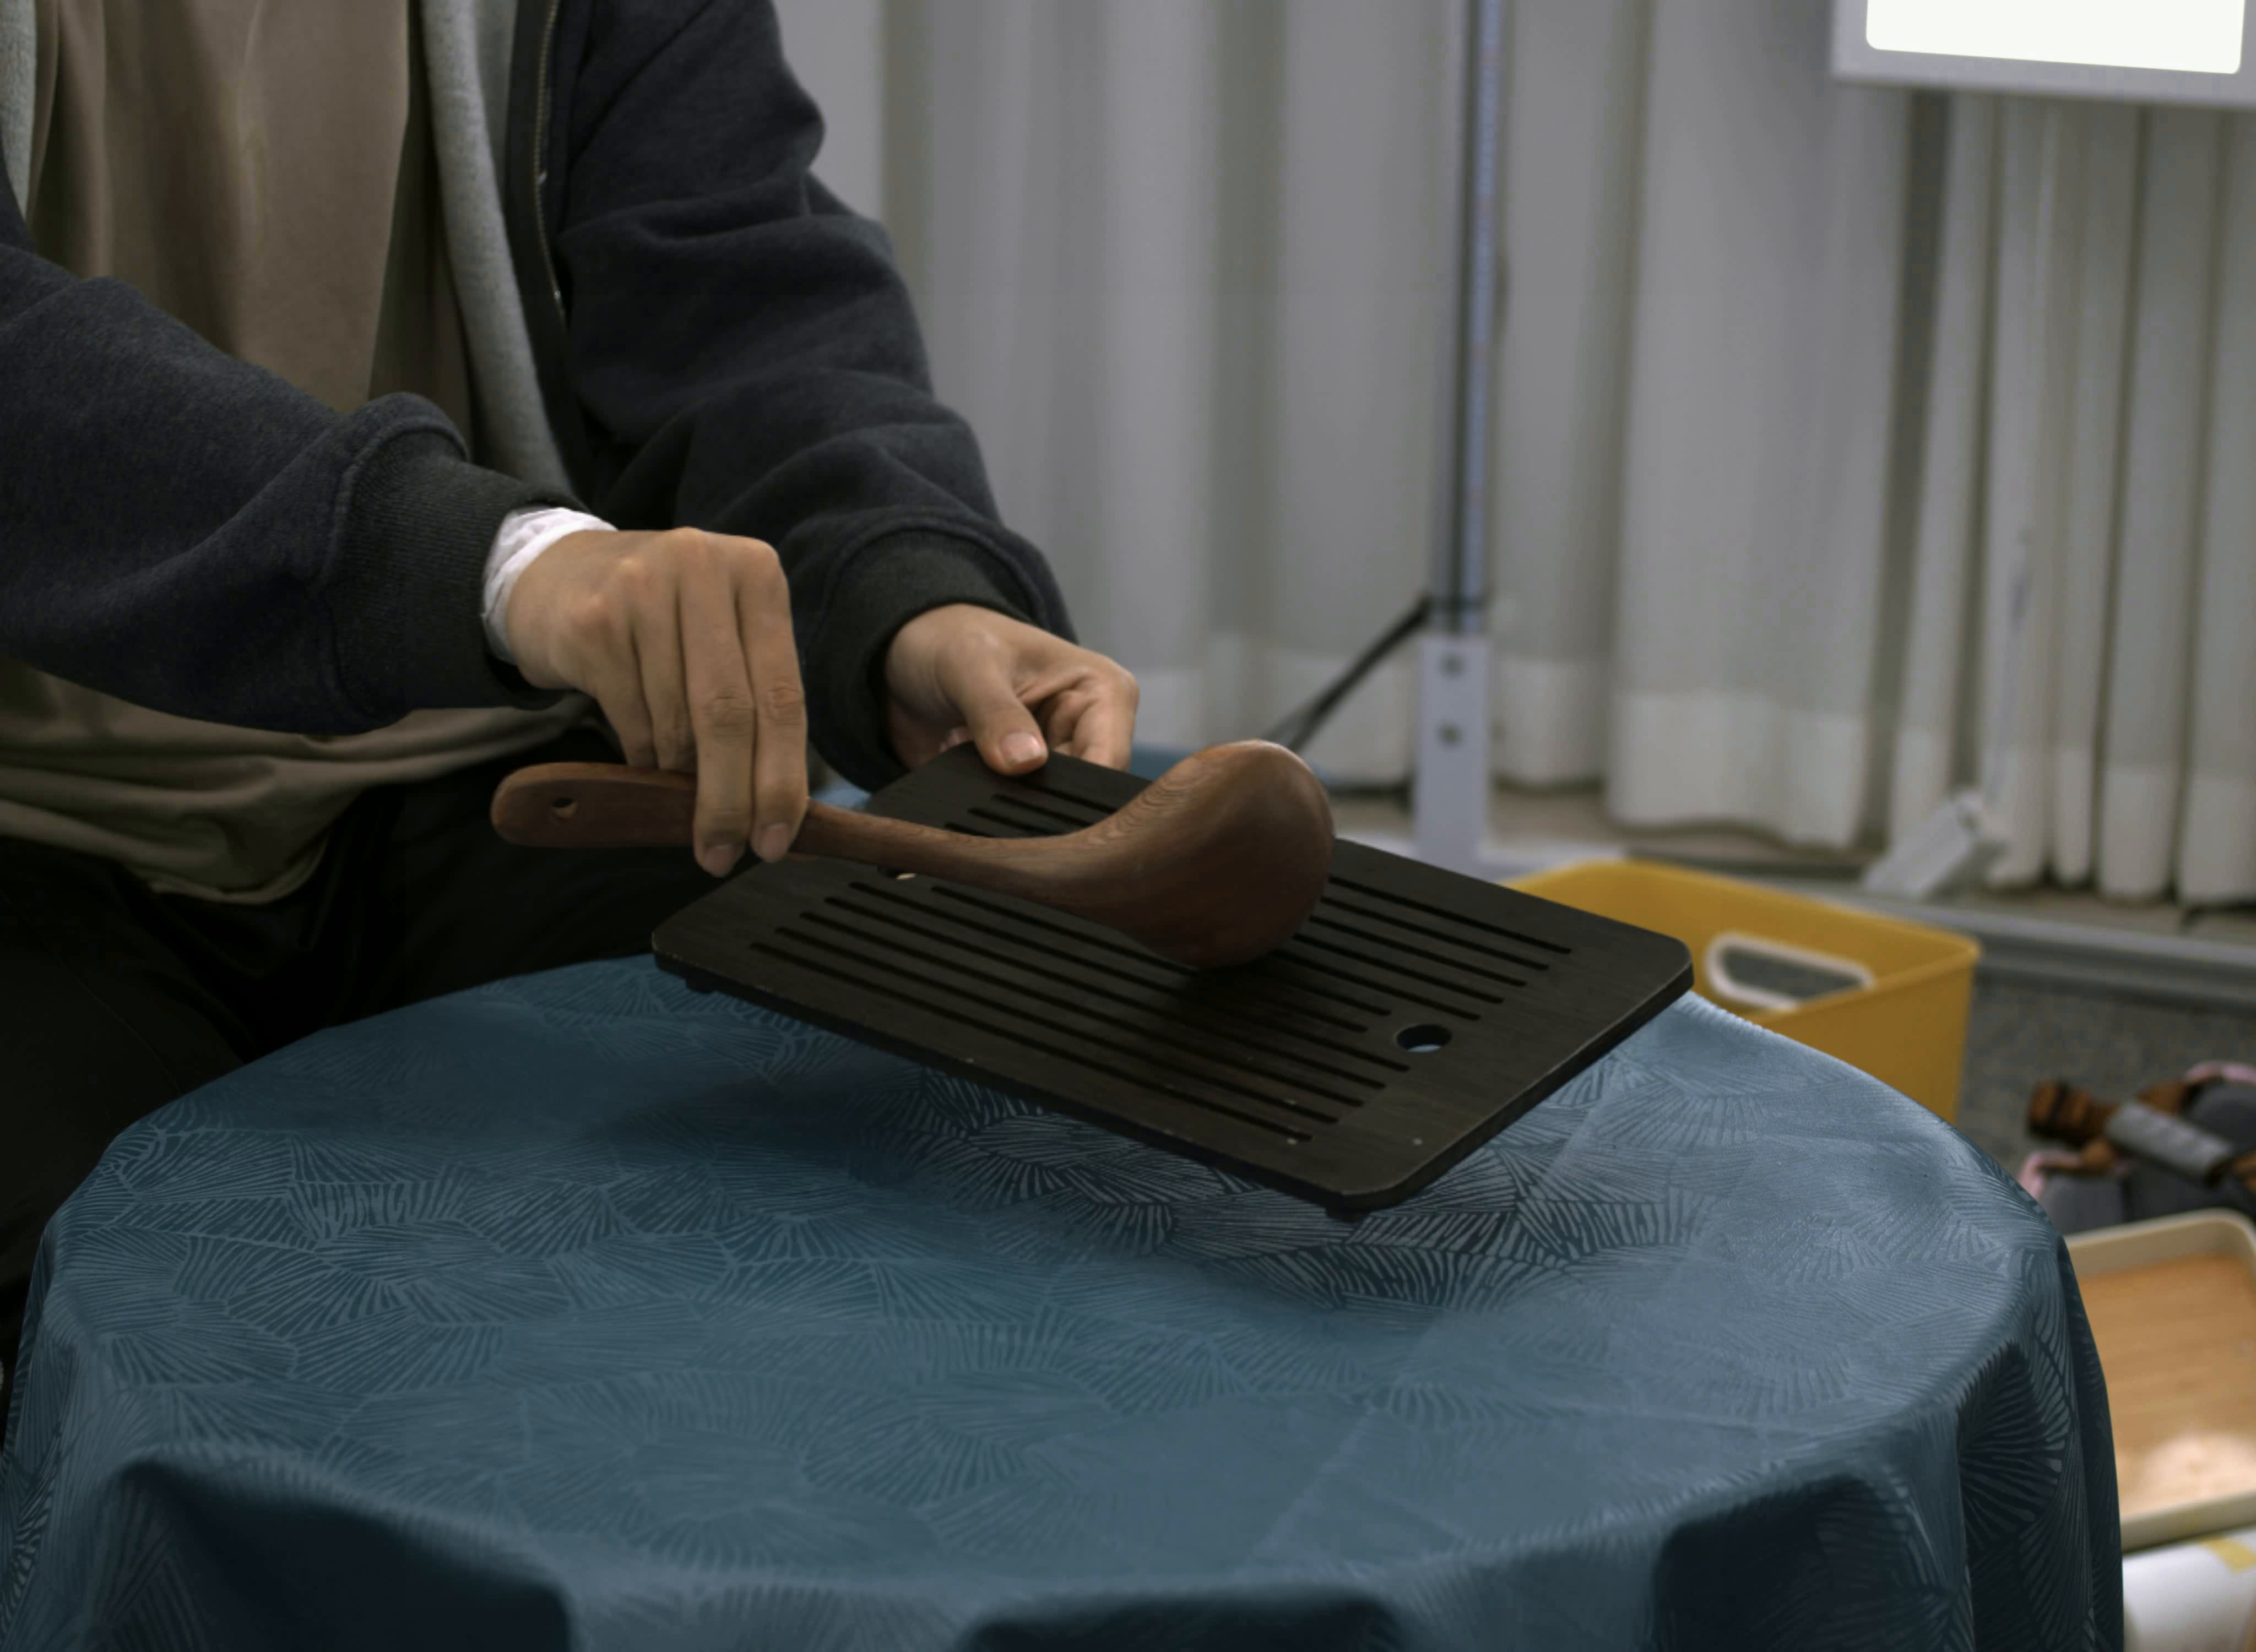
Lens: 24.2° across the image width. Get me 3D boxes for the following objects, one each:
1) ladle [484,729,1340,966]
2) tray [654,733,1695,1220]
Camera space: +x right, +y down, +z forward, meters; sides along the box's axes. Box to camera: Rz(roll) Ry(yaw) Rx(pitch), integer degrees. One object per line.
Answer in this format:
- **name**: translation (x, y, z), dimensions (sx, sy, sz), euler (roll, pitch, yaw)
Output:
- **ladle**: translation (-0.065, -0.003, 1.618), dimensions (0.259, 0.077, 0.065), euler (7, 23, 3)
- **tray**: translation (0.011, 0.043, 1.652), dimensions (0.302, 0.019, 0.170), euler (18, 36, 38)
